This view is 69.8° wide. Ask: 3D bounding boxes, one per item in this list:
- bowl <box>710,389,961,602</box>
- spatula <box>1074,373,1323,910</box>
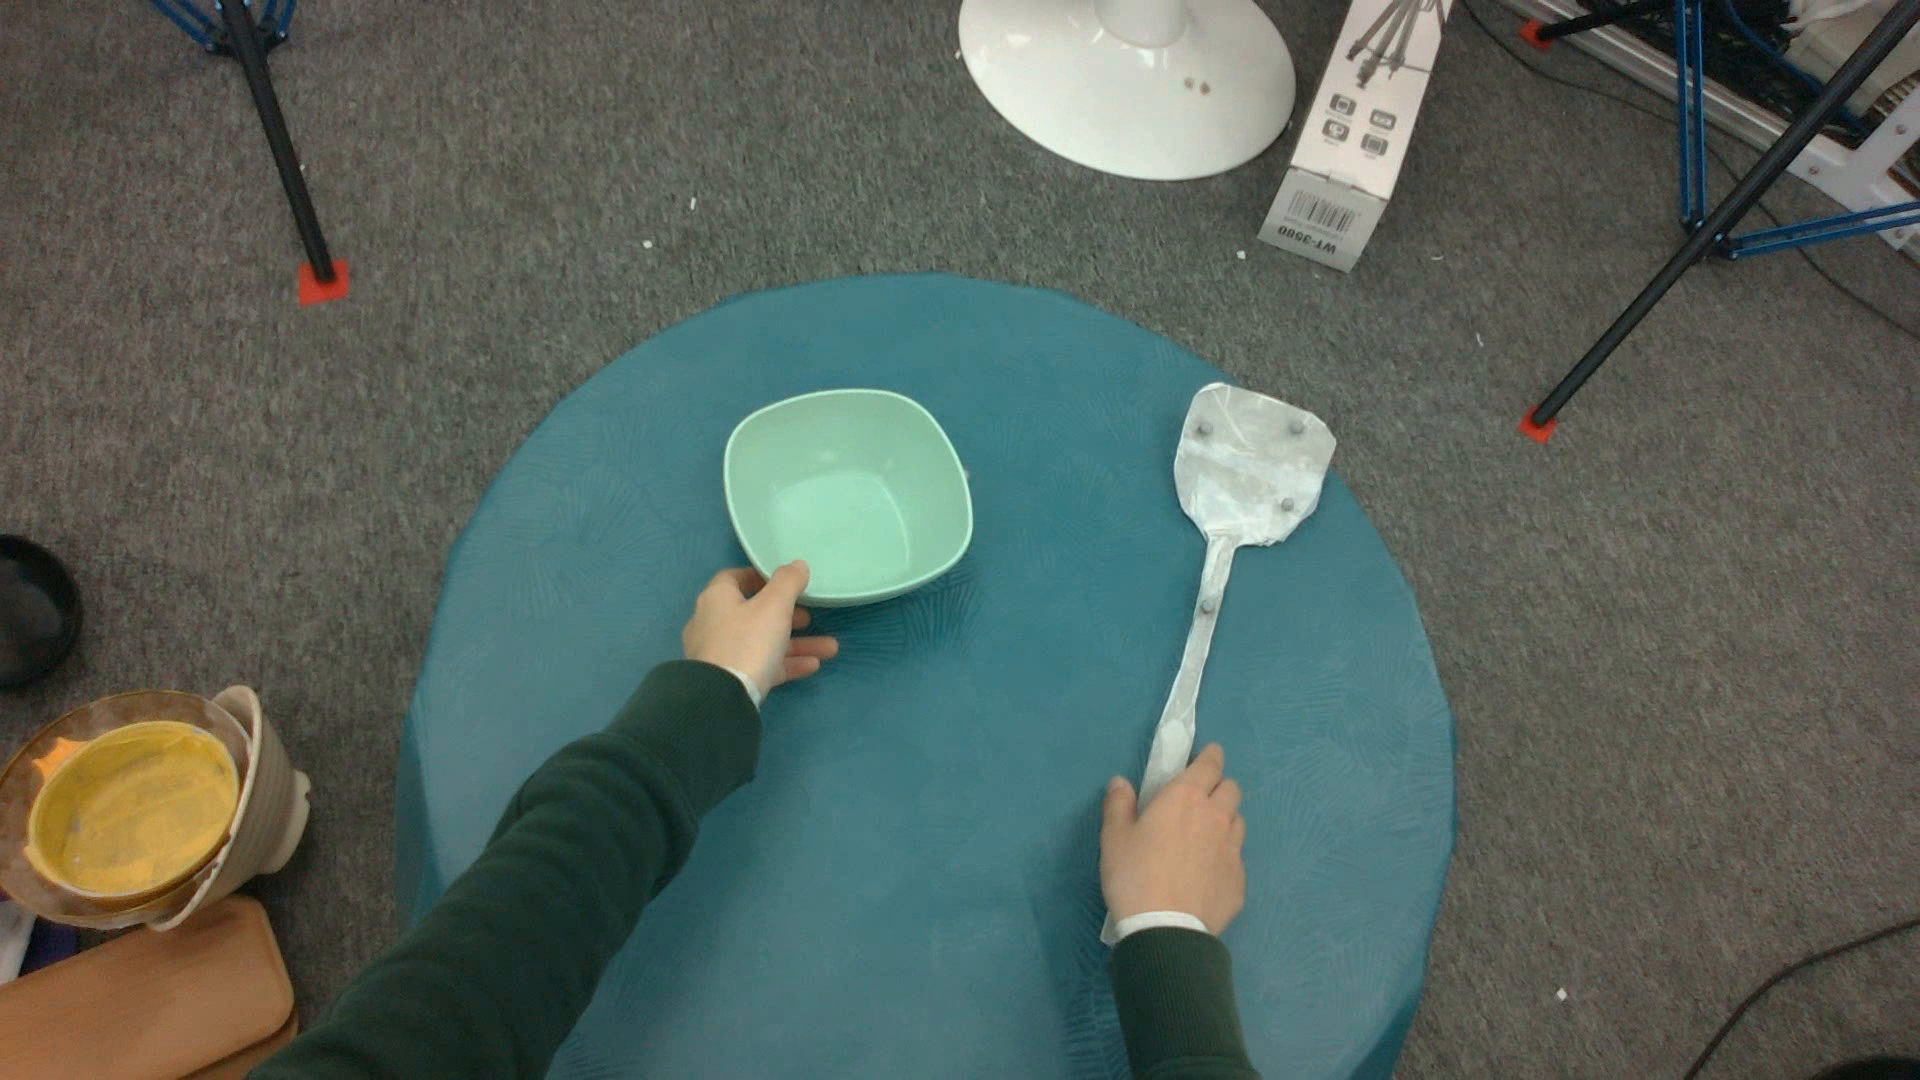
[{"bbox_3d":[-0.075,-0.017,0.807,0.151,0.058,0.152,6,56,-9],"label":"bowl"},{"bbox_3d":[0.135,0.051,0.820,0.099,0.044,0.366,23,57,0],"label":"spatula"}]
